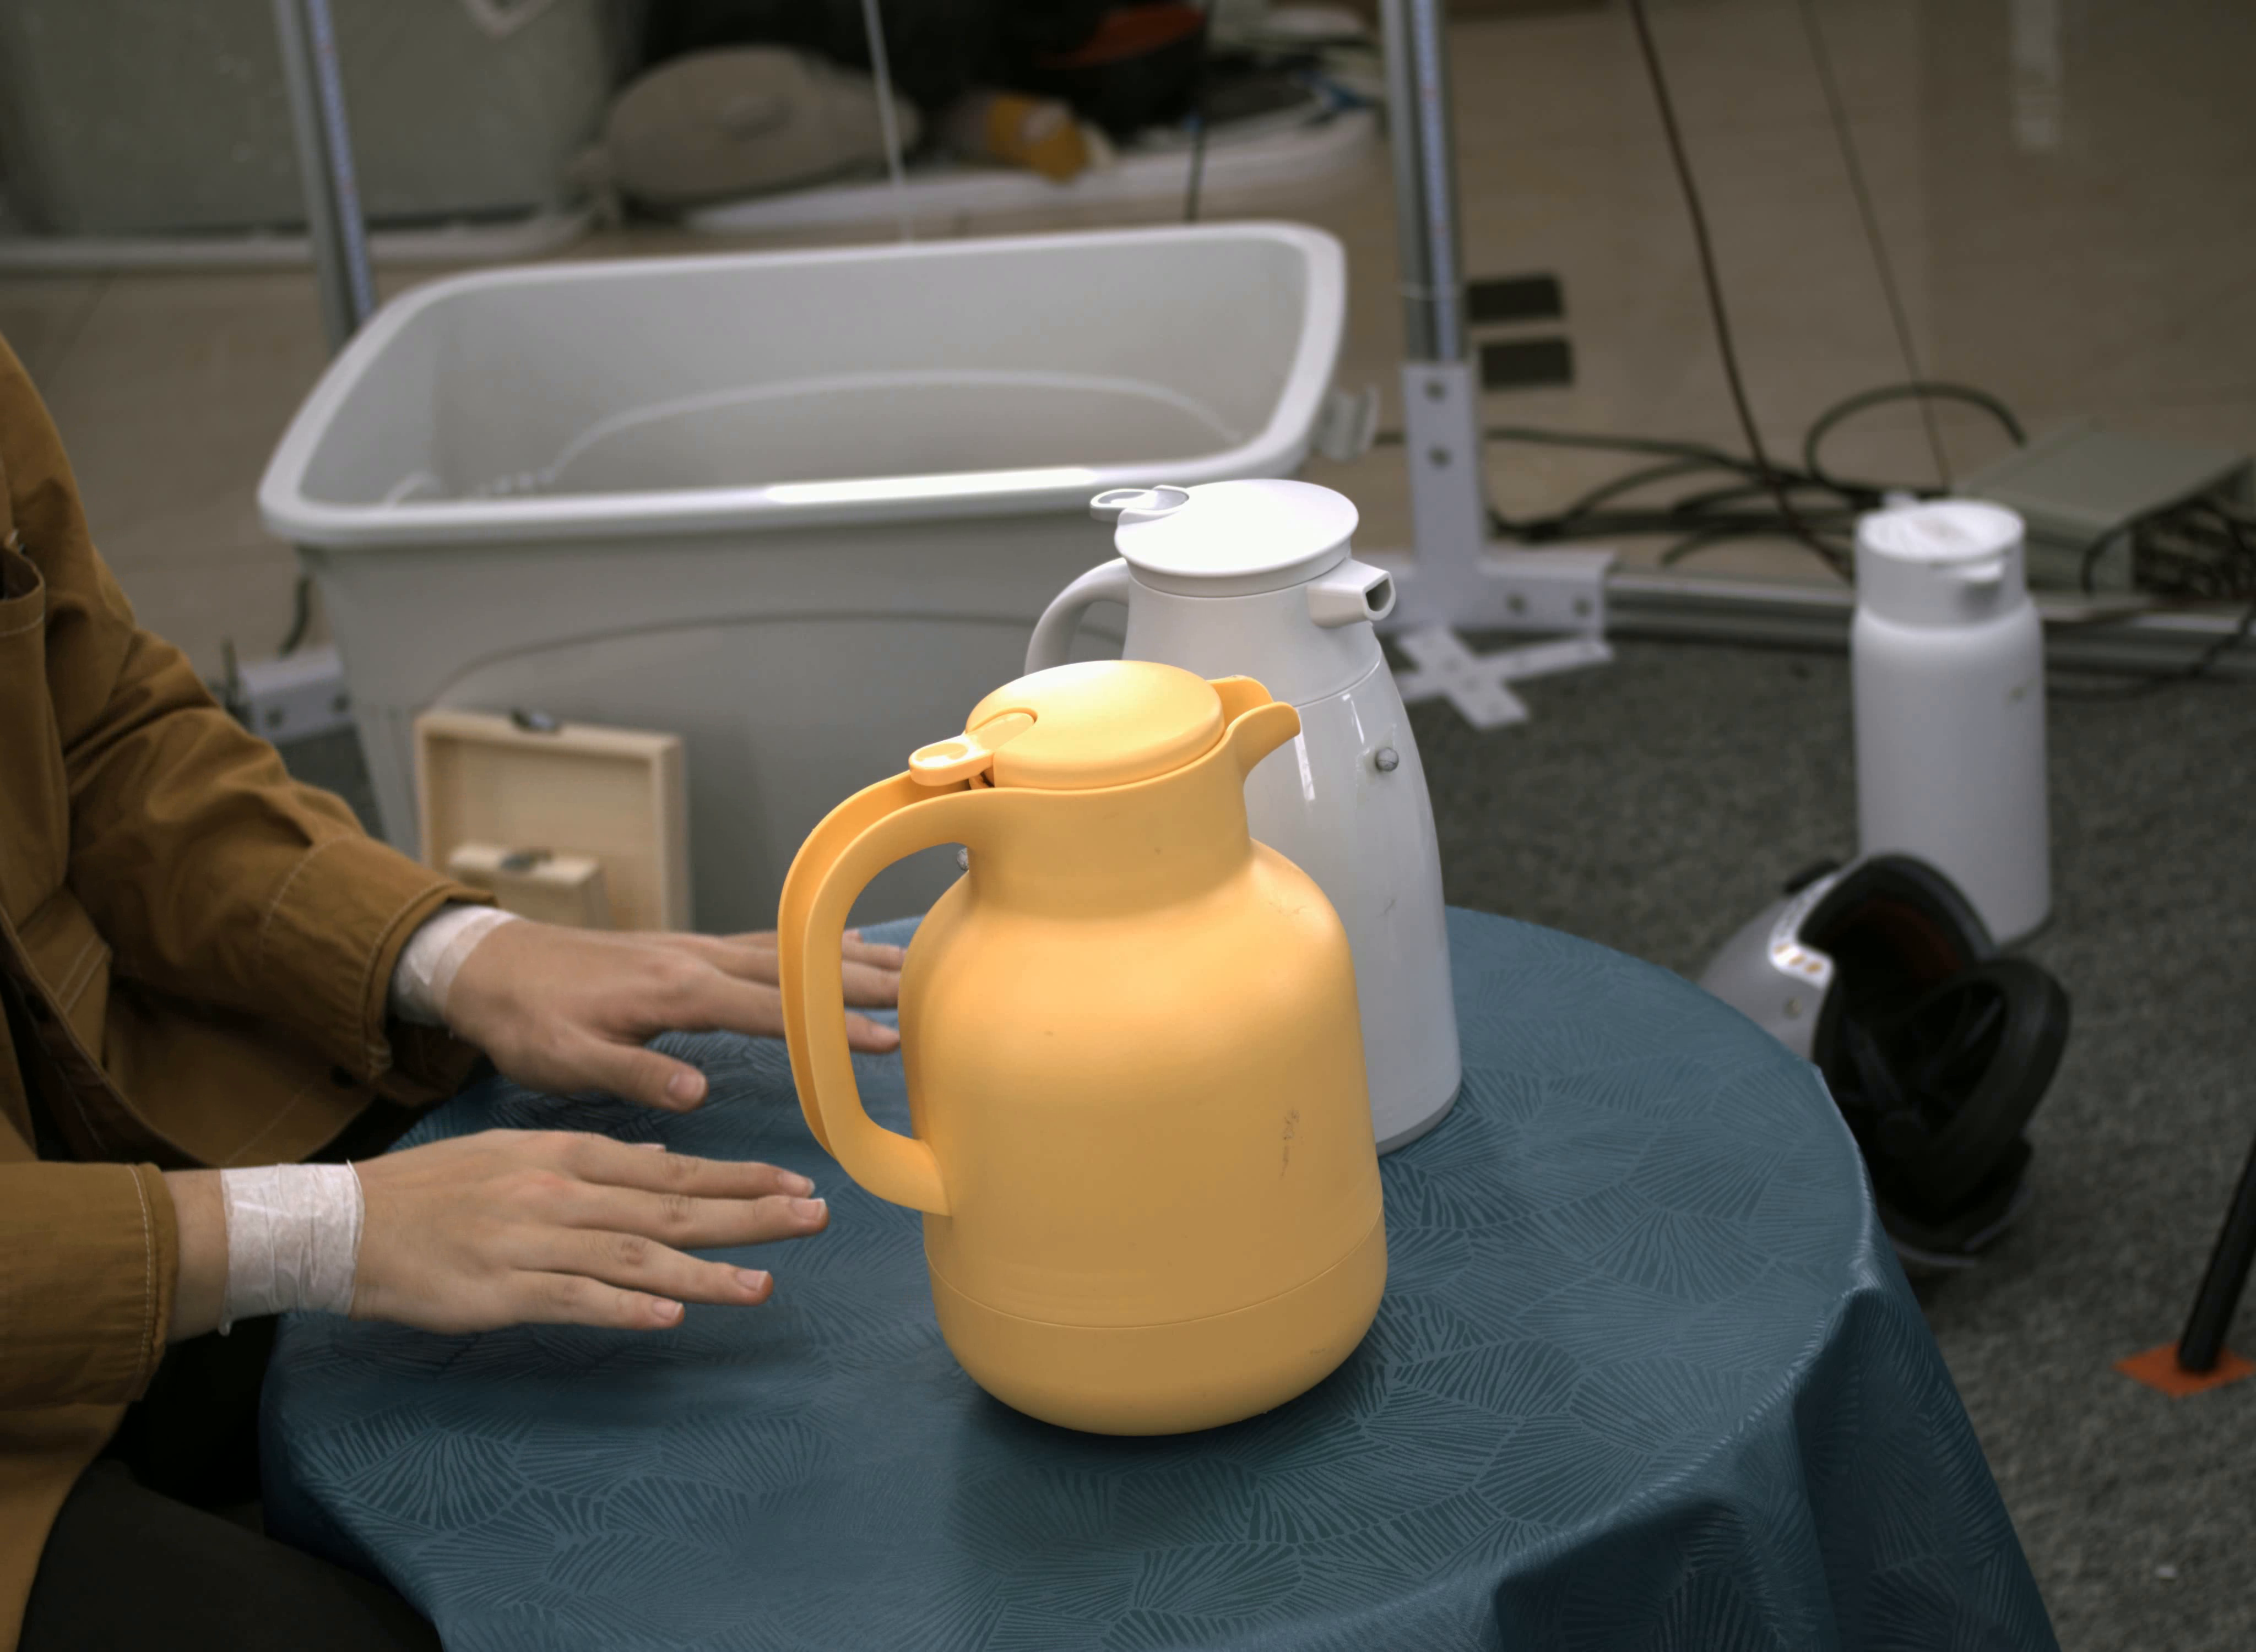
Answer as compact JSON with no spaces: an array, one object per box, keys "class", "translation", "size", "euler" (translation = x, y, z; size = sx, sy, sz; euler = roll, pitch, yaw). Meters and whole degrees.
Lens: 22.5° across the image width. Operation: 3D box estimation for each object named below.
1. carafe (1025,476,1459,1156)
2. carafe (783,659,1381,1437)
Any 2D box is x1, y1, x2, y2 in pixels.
[{"class":"carafe","translation":[0.036,-0.010,2.161],"size":[0.167,0.252,0.131],"euler":[11,31,33]},{"class":"carafe","translation":[-0.018,0.077,1.975],"size":[0.201,0.264,0.161],"euler":[-14,24,-18]}]
